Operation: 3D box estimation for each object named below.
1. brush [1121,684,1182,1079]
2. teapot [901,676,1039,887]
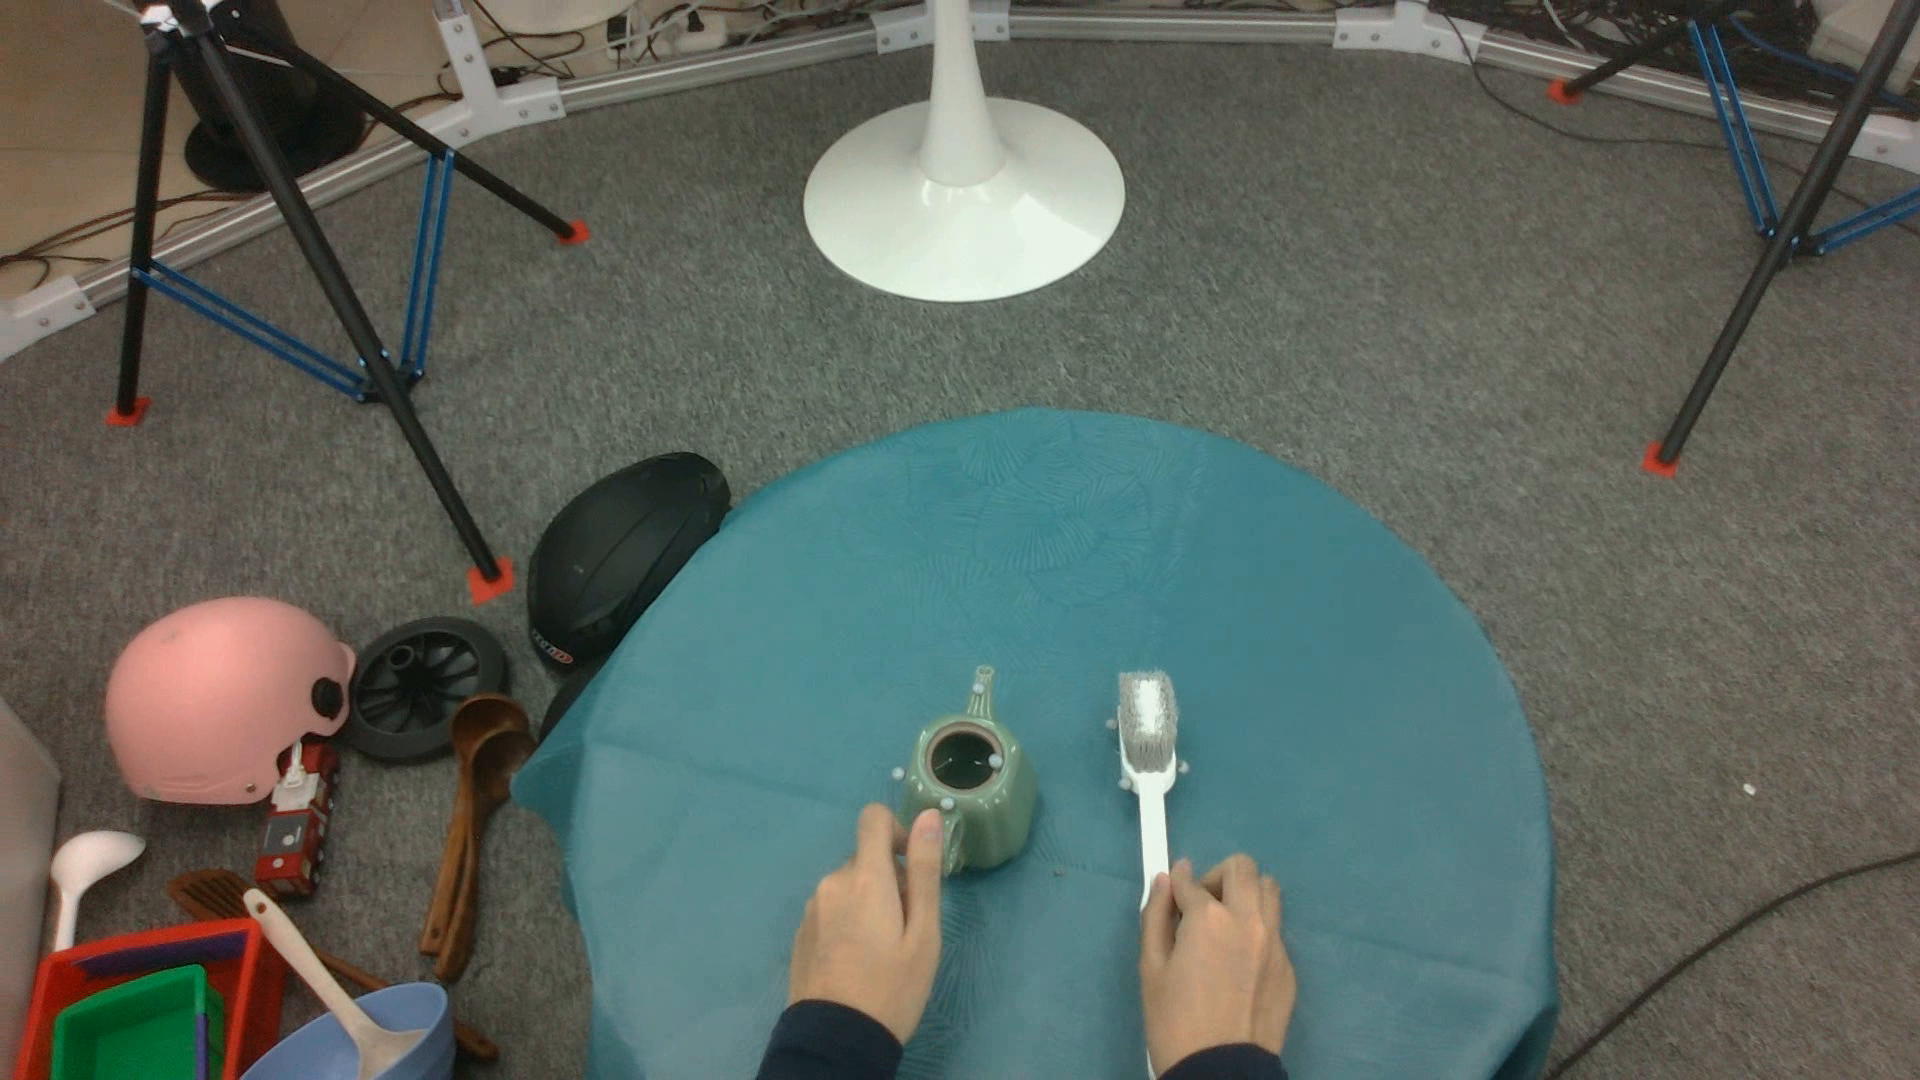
[{"bbox_3d":[0.112,0.191,0.802,0.034,0.050,0.245,4,51,2],"label":"brush"},{"bbox_3d":[0.005,0.153,0.823,0.079,0.075,0.133,8,52,11],"label":"teapot"}]
